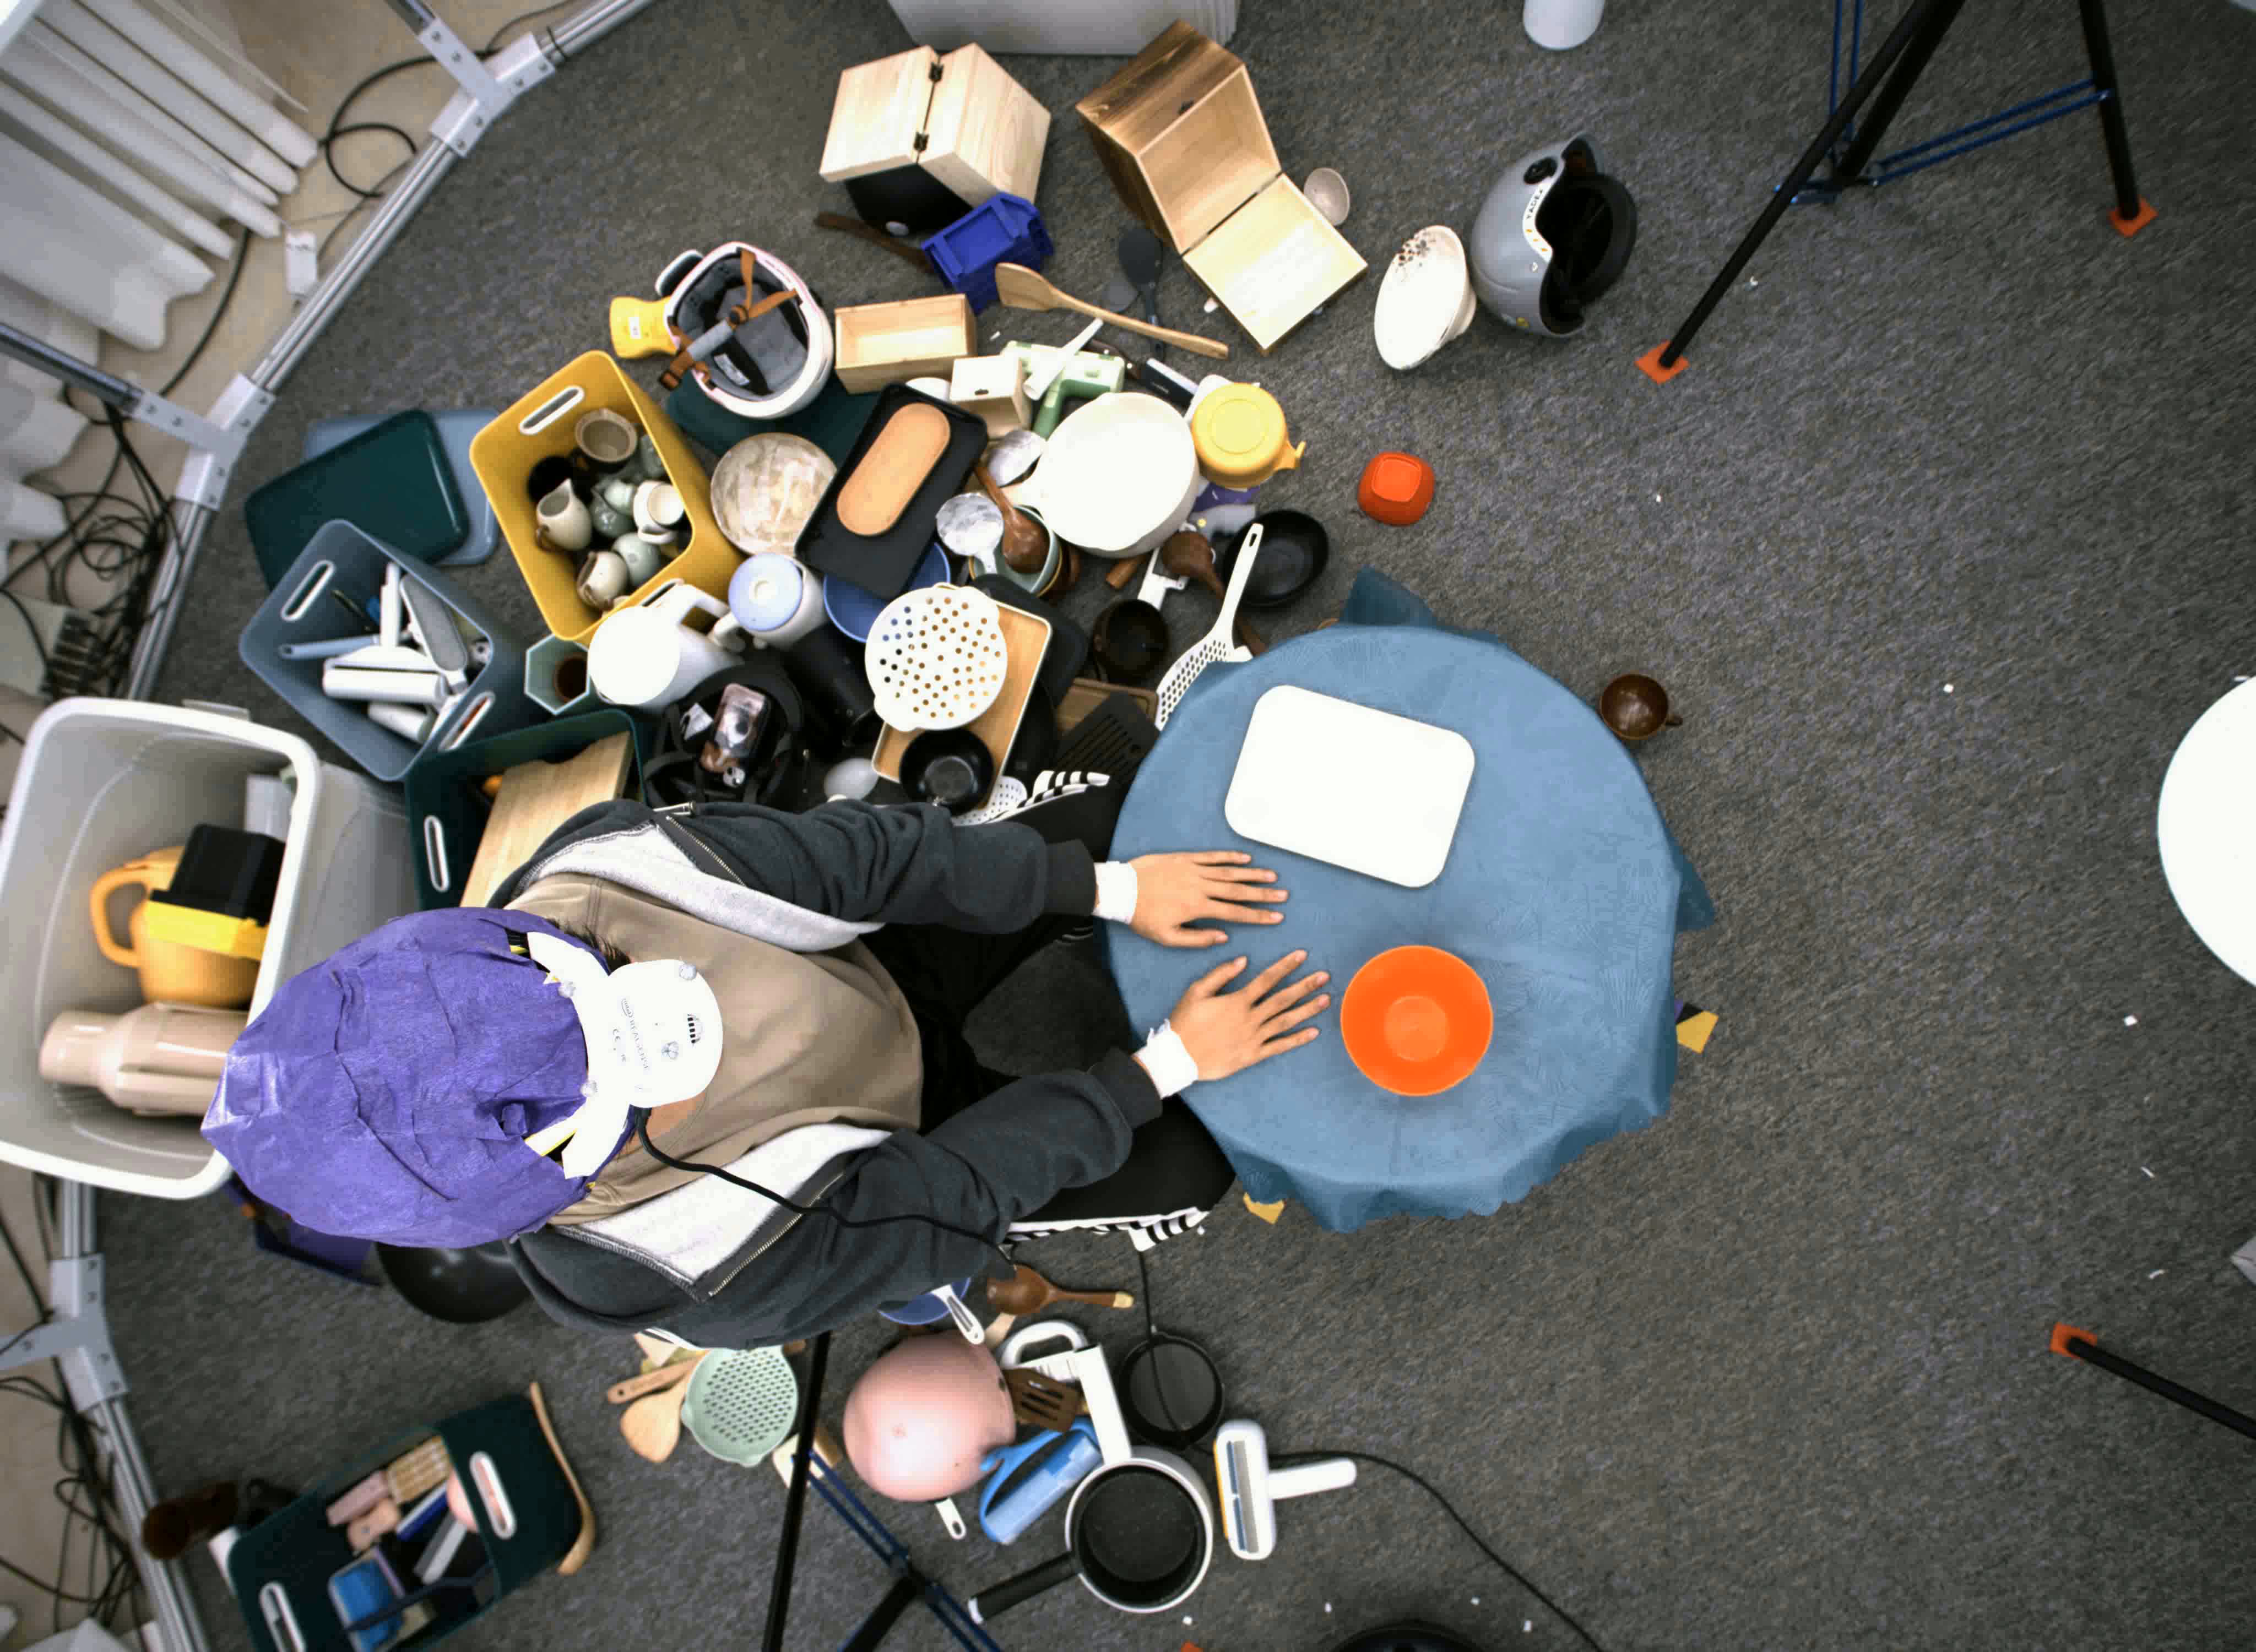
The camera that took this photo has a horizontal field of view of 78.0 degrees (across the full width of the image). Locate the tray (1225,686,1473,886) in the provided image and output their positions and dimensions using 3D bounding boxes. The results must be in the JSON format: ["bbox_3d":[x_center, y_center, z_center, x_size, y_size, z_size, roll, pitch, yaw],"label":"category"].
[{"bbox_3d":[0.233,-0.045,1.464,0.240,0.017,0.171,17,91,11],"label":"tray"}]

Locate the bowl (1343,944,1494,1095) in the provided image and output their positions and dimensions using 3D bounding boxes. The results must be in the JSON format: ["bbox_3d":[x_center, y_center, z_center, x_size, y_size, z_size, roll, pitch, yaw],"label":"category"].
[{"bbox_3d":[0.291,0.194,1.397,0.148,0.105,0.147,-1,85,9],"label":"bowl"}]
